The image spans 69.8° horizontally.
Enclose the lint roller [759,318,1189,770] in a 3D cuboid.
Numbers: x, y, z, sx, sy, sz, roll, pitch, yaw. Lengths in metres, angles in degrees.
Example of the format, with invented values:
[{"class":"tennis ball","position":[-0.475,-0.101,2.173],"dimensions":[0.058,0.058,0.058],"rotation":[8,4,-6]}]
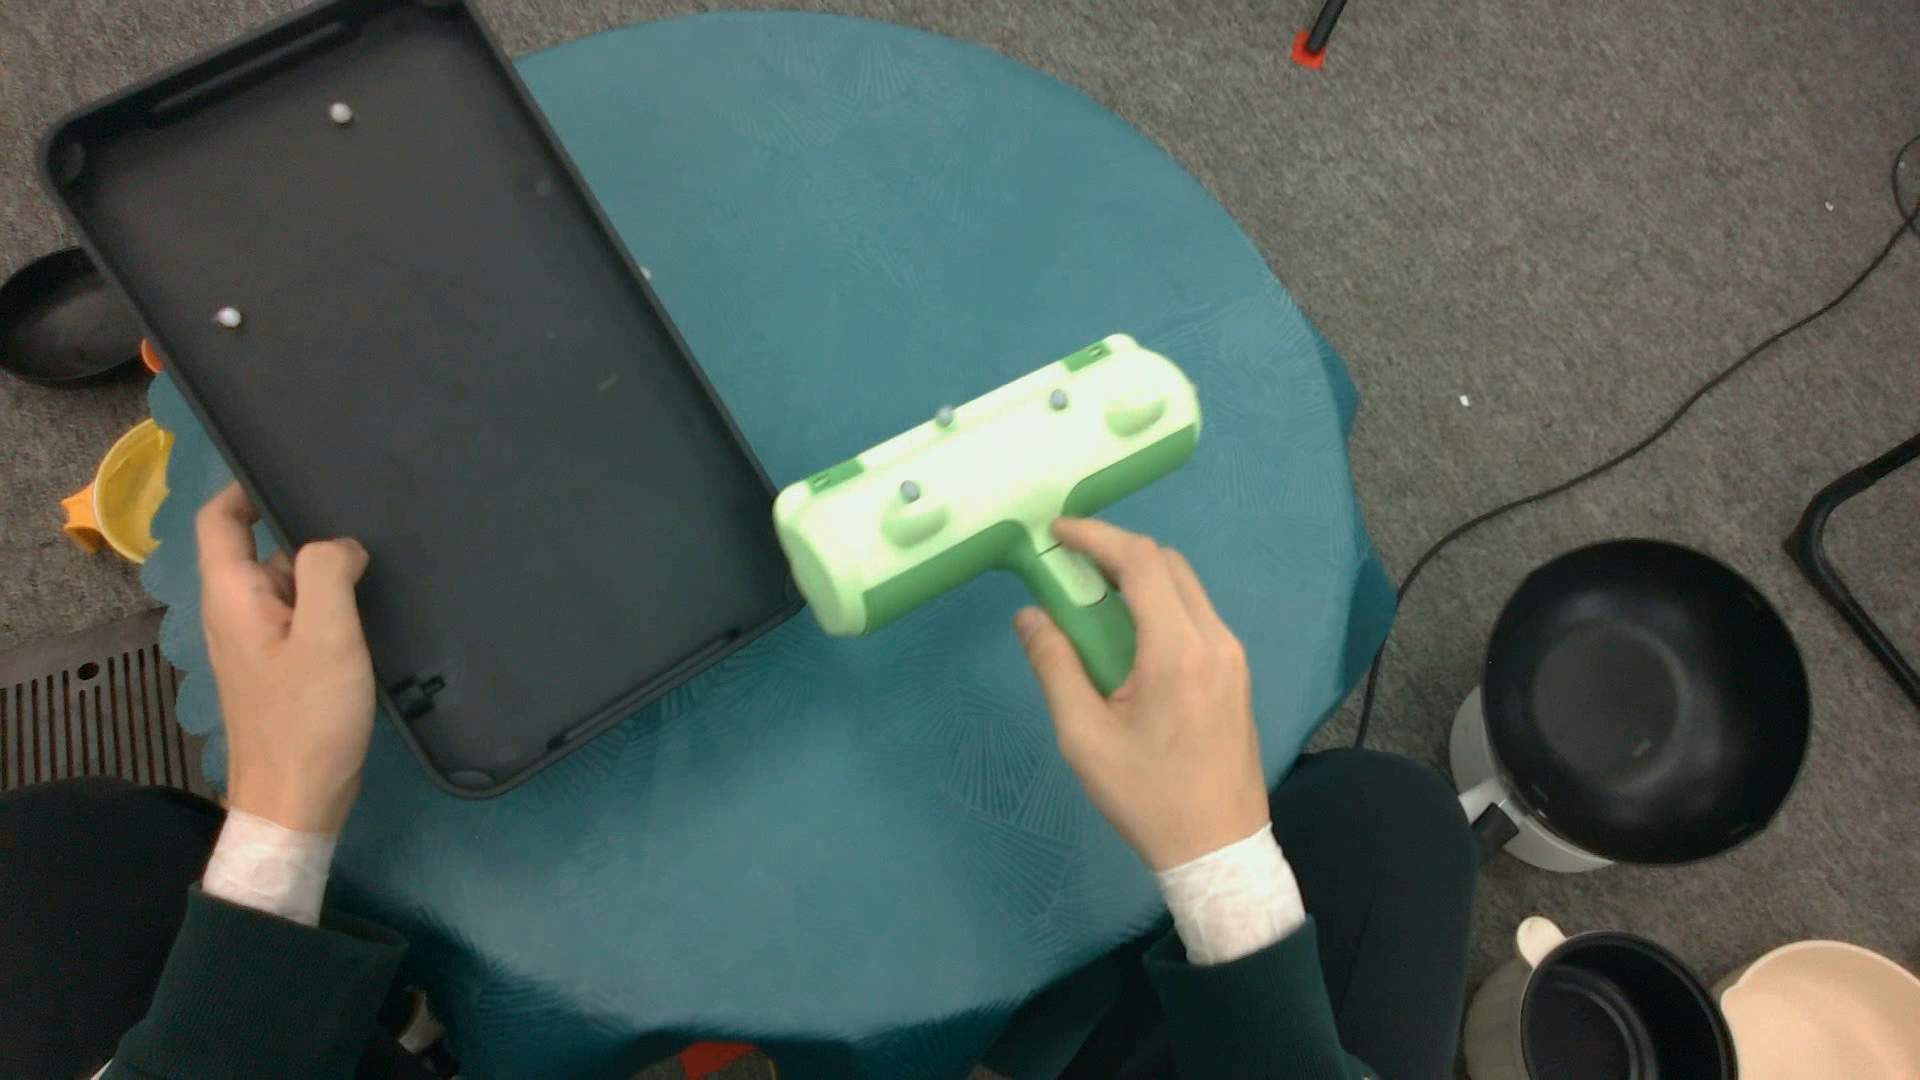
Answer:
[{"class":"lint roller","position":[0.045,0.008,0.568],"dimensions":[0.199,0.082,0.183],"rotation":[-28,72,-27]}]

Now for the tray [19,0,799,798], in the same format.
[{"class":"tray","position":[-0.222,-0.067,0.587],"dimensions":[0.185,0.037,0.318],"rotation":[-33,95,-17]}]
